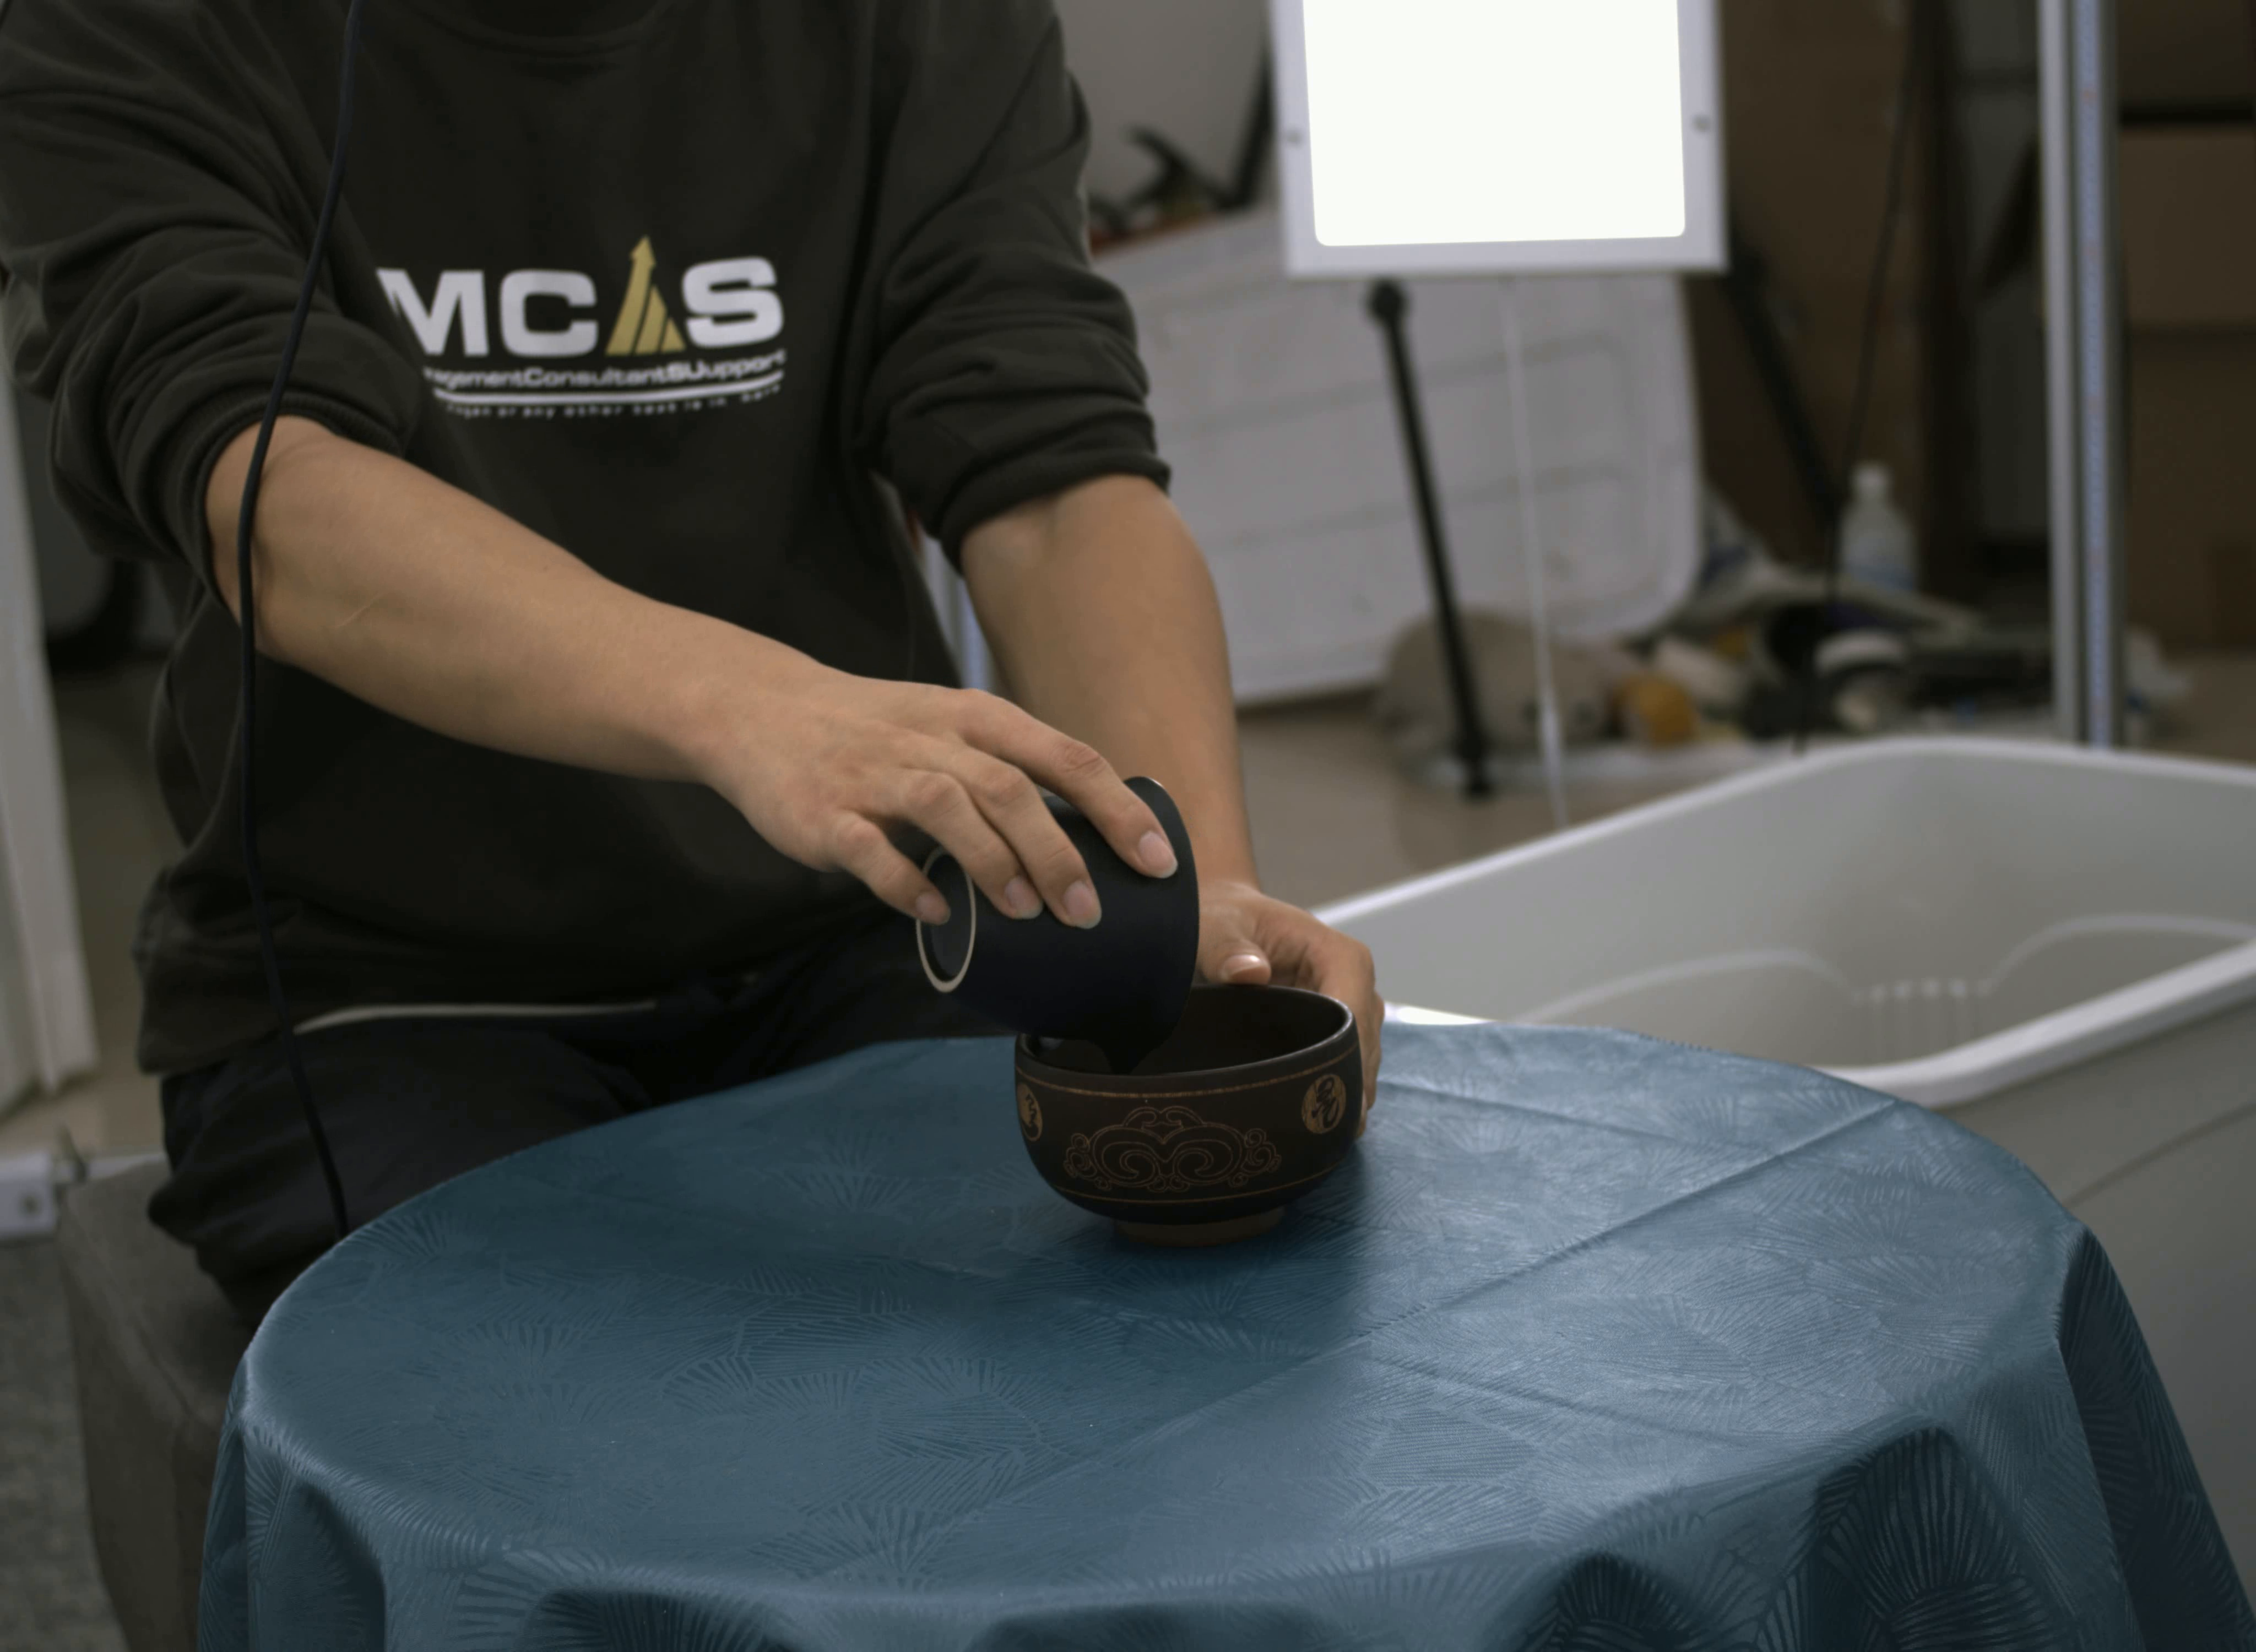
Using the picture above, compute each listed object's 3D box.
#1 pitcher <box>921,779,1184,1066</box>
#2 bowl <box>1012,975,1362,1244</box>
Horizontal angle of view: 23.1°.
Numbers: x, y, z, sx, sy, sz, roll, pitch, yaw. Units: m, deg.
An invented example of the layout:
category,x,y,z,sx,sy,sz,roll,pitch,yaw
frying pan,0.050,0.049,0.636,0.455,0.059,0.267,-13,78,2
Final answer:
category,x,y,z,sx,sy,sz,roll,pitch,yaw
pitcher,-0.027,0.031,1.823,0.070,0.096,0.085,2,1,-26
bowl,0.021,0.099,1.854,0.118,0.070,0.118,-5,16,0
